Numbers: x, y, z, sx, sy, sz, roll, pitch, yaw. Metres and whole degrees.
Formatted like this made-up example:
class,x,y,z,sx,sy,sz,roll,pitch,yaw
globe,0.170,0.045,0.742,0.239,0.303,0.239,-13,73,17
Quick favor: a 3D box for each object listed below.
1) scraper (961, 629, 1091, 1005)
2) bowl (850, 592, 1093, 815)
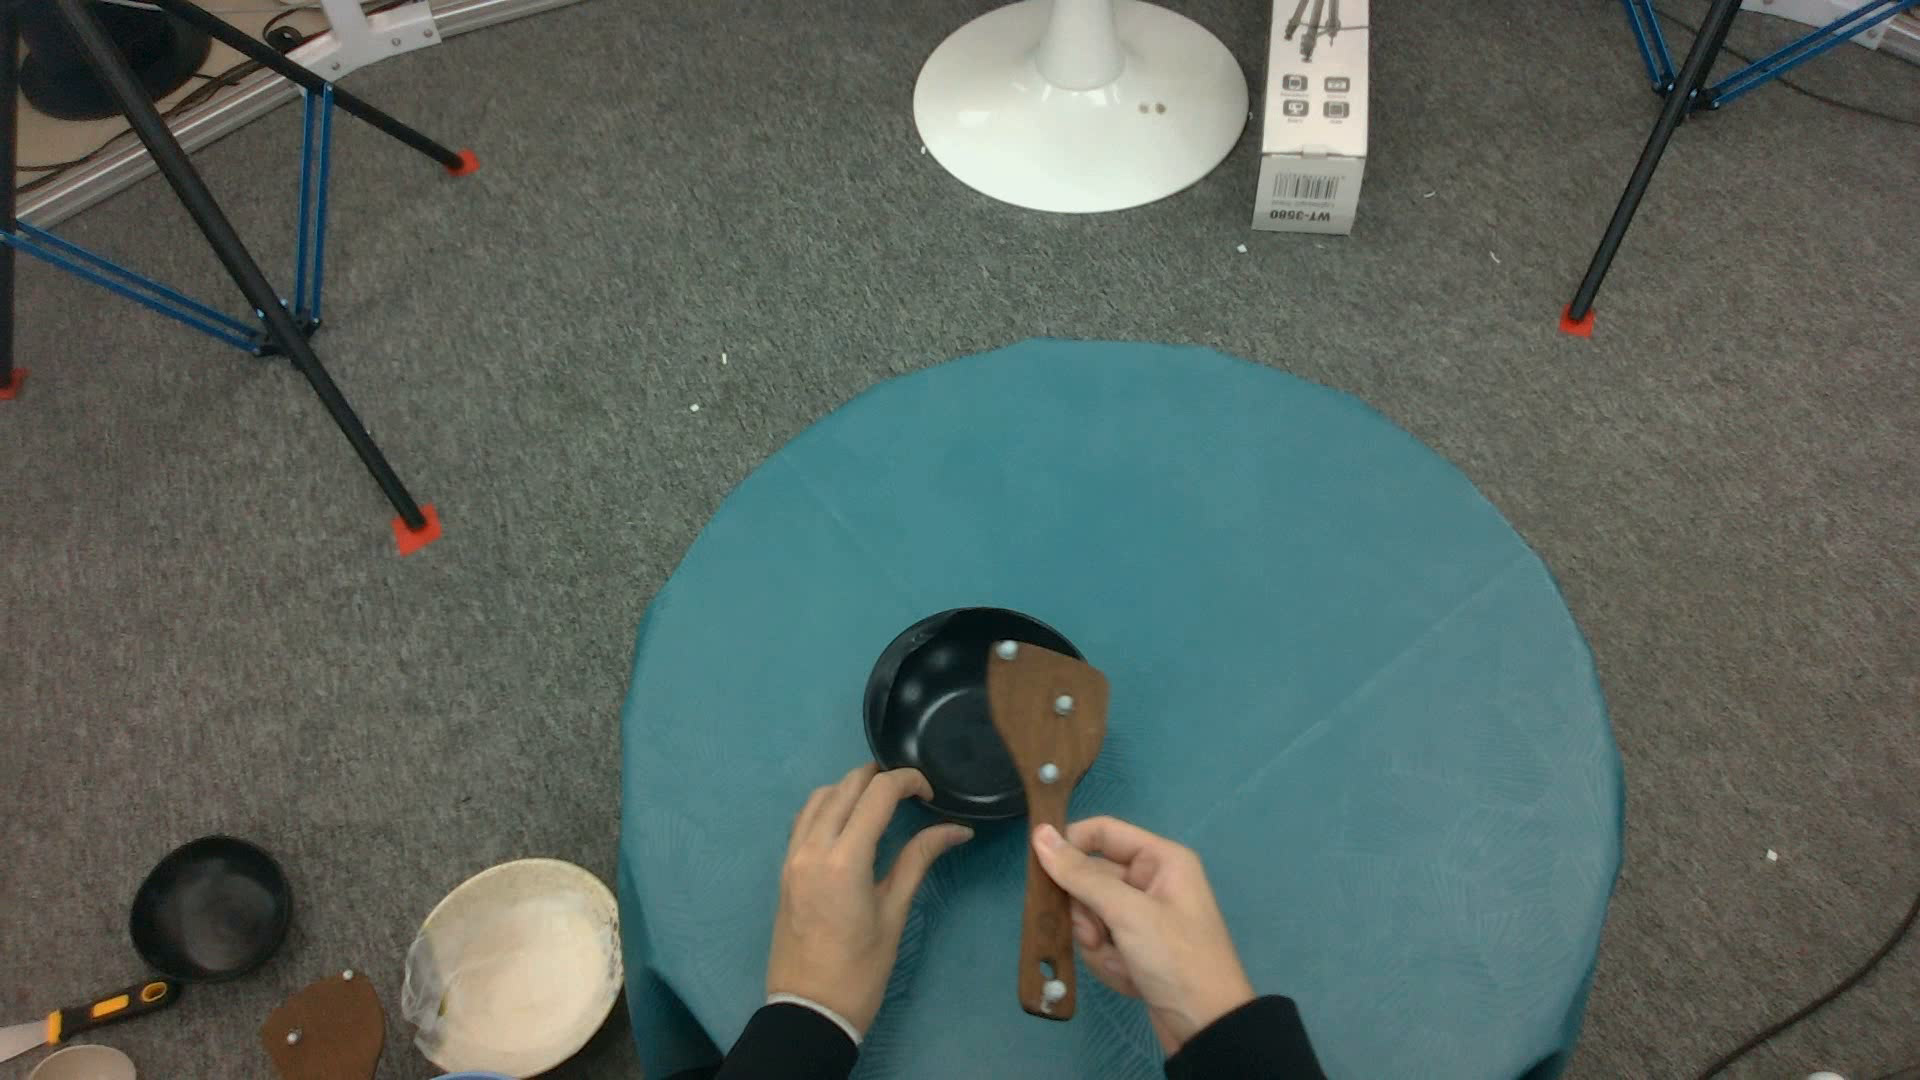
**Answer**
class,x,y,z,sx,sy,sz,roll,pitch,yaw
scraper,0.034,0.131,0.685,0.076,0.011,0.212,19,41,-16
bowl,0.005,0.101,0.799,0.140,0.049,0.140,3,55,-4
